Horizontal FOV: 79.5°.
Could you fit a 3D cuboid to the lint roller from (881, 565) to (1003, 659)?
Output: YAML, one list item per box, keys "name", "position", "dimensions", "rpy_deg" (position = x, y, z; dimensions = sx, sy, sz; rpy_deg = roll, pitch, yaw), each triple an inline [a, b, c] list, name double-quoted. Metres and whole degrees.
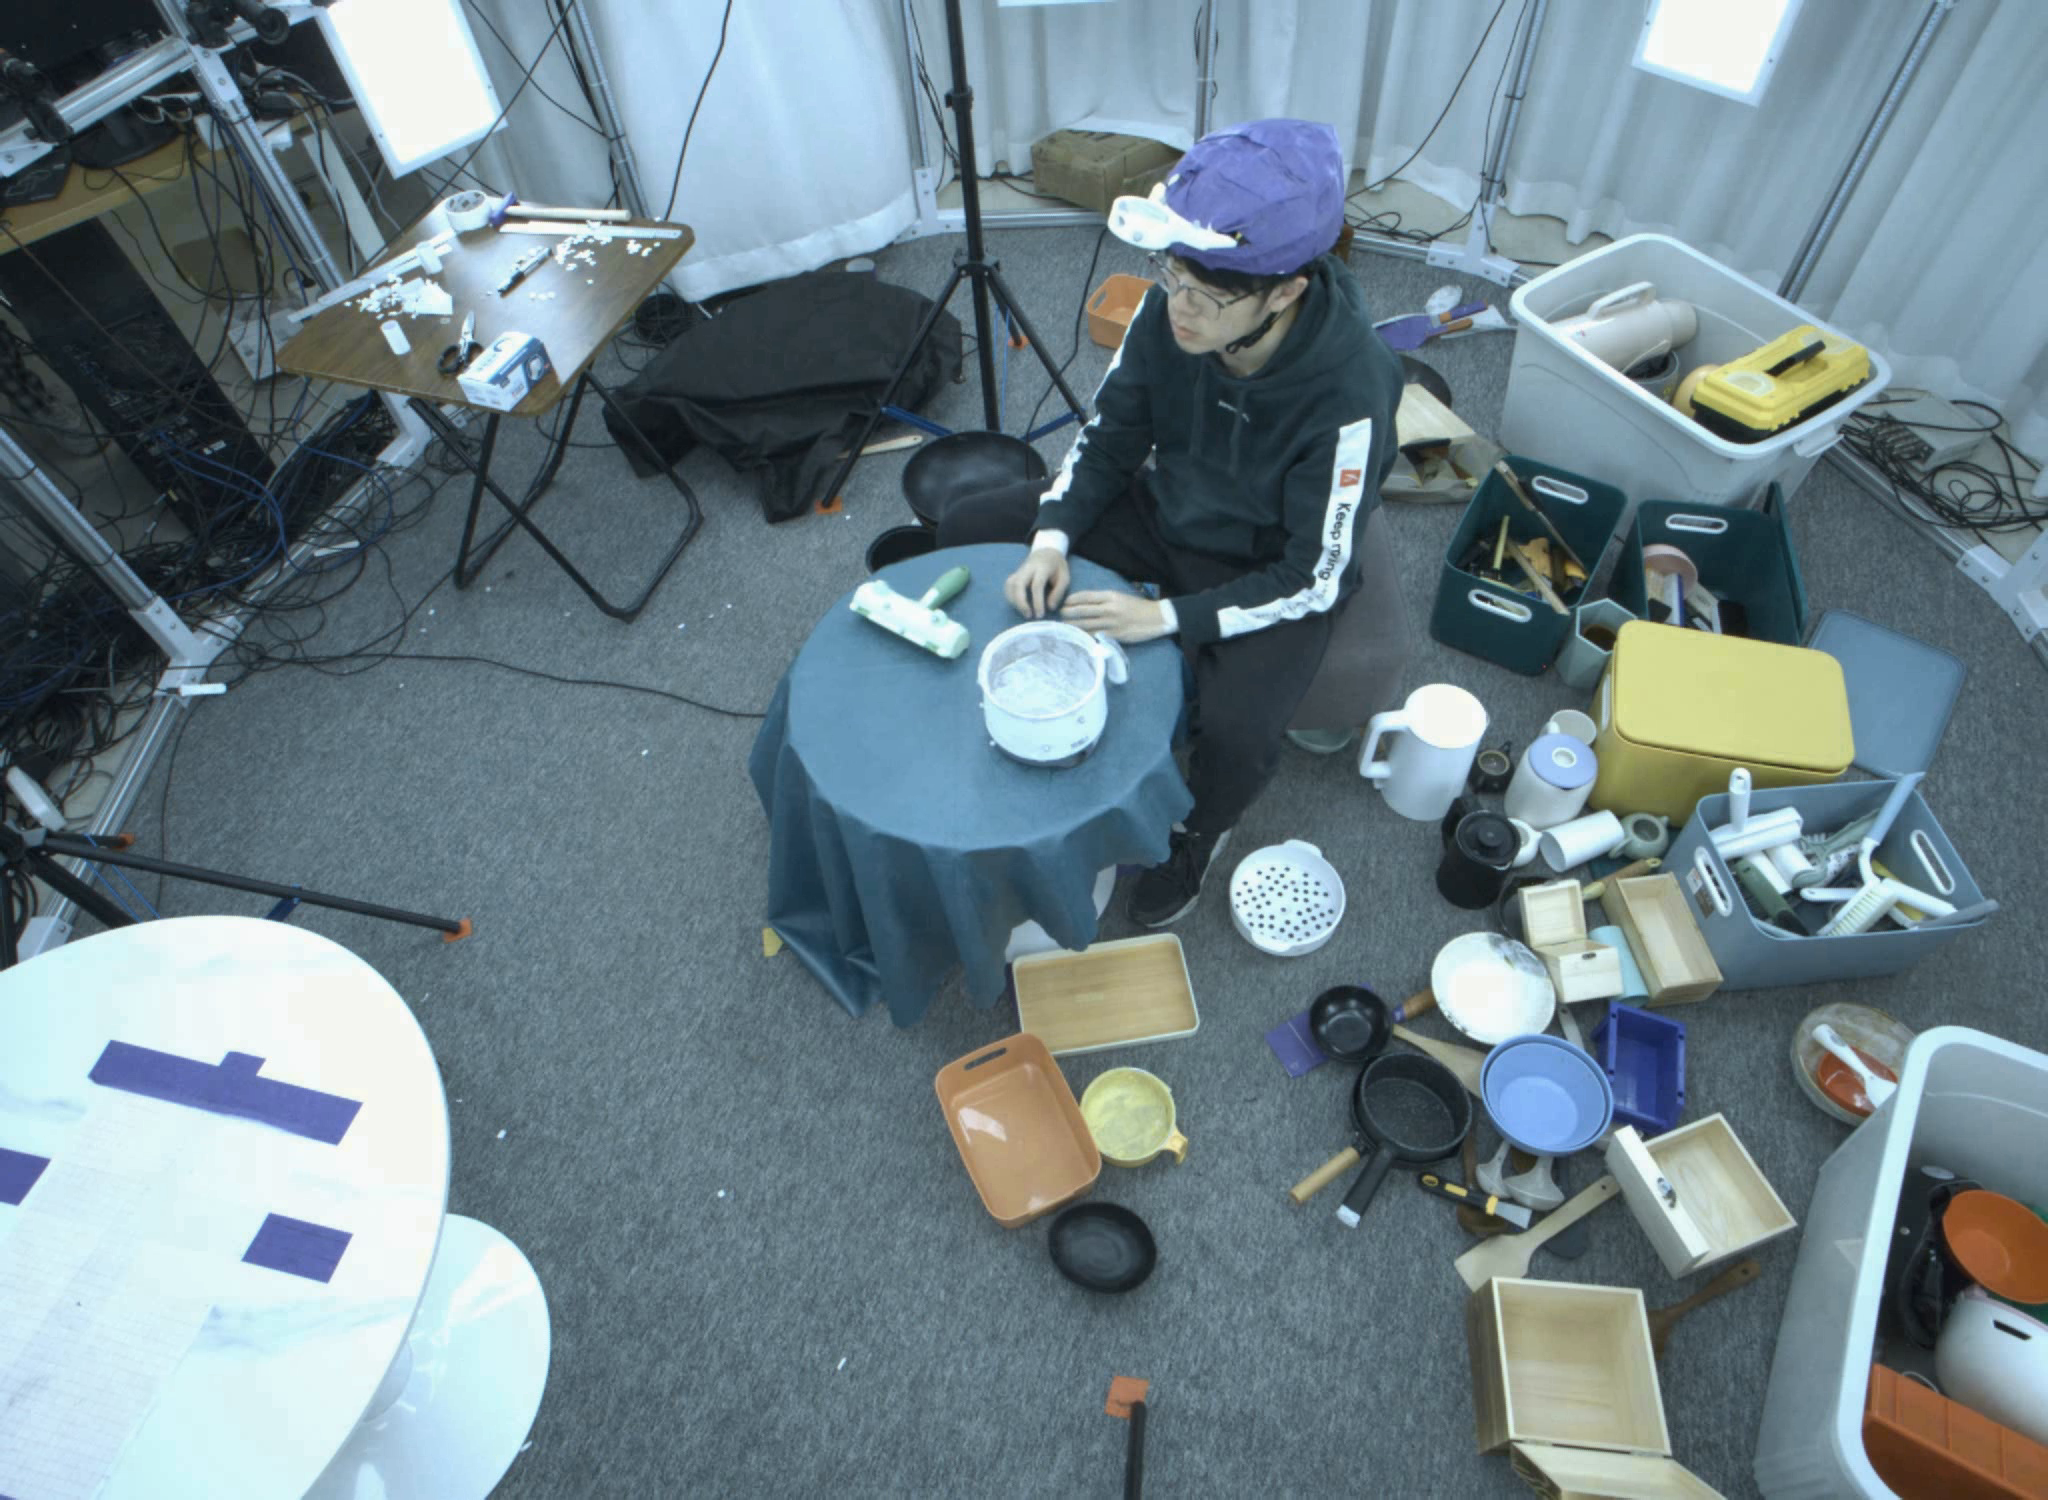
- name: "lint roller"
  position: [-0.097, -0.245, 1.914]
  dimensions: [0.195, 0.083, 0.184]
  rpy_deg: [30, 66, 22]

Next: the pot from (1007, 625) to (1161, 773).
- name: "pot"
  position: [0.093, -0.082, 1.752]
  dimensions: [0.235, 0.138, 0.175]
  rpy_deg: [-30, 59, -16]
